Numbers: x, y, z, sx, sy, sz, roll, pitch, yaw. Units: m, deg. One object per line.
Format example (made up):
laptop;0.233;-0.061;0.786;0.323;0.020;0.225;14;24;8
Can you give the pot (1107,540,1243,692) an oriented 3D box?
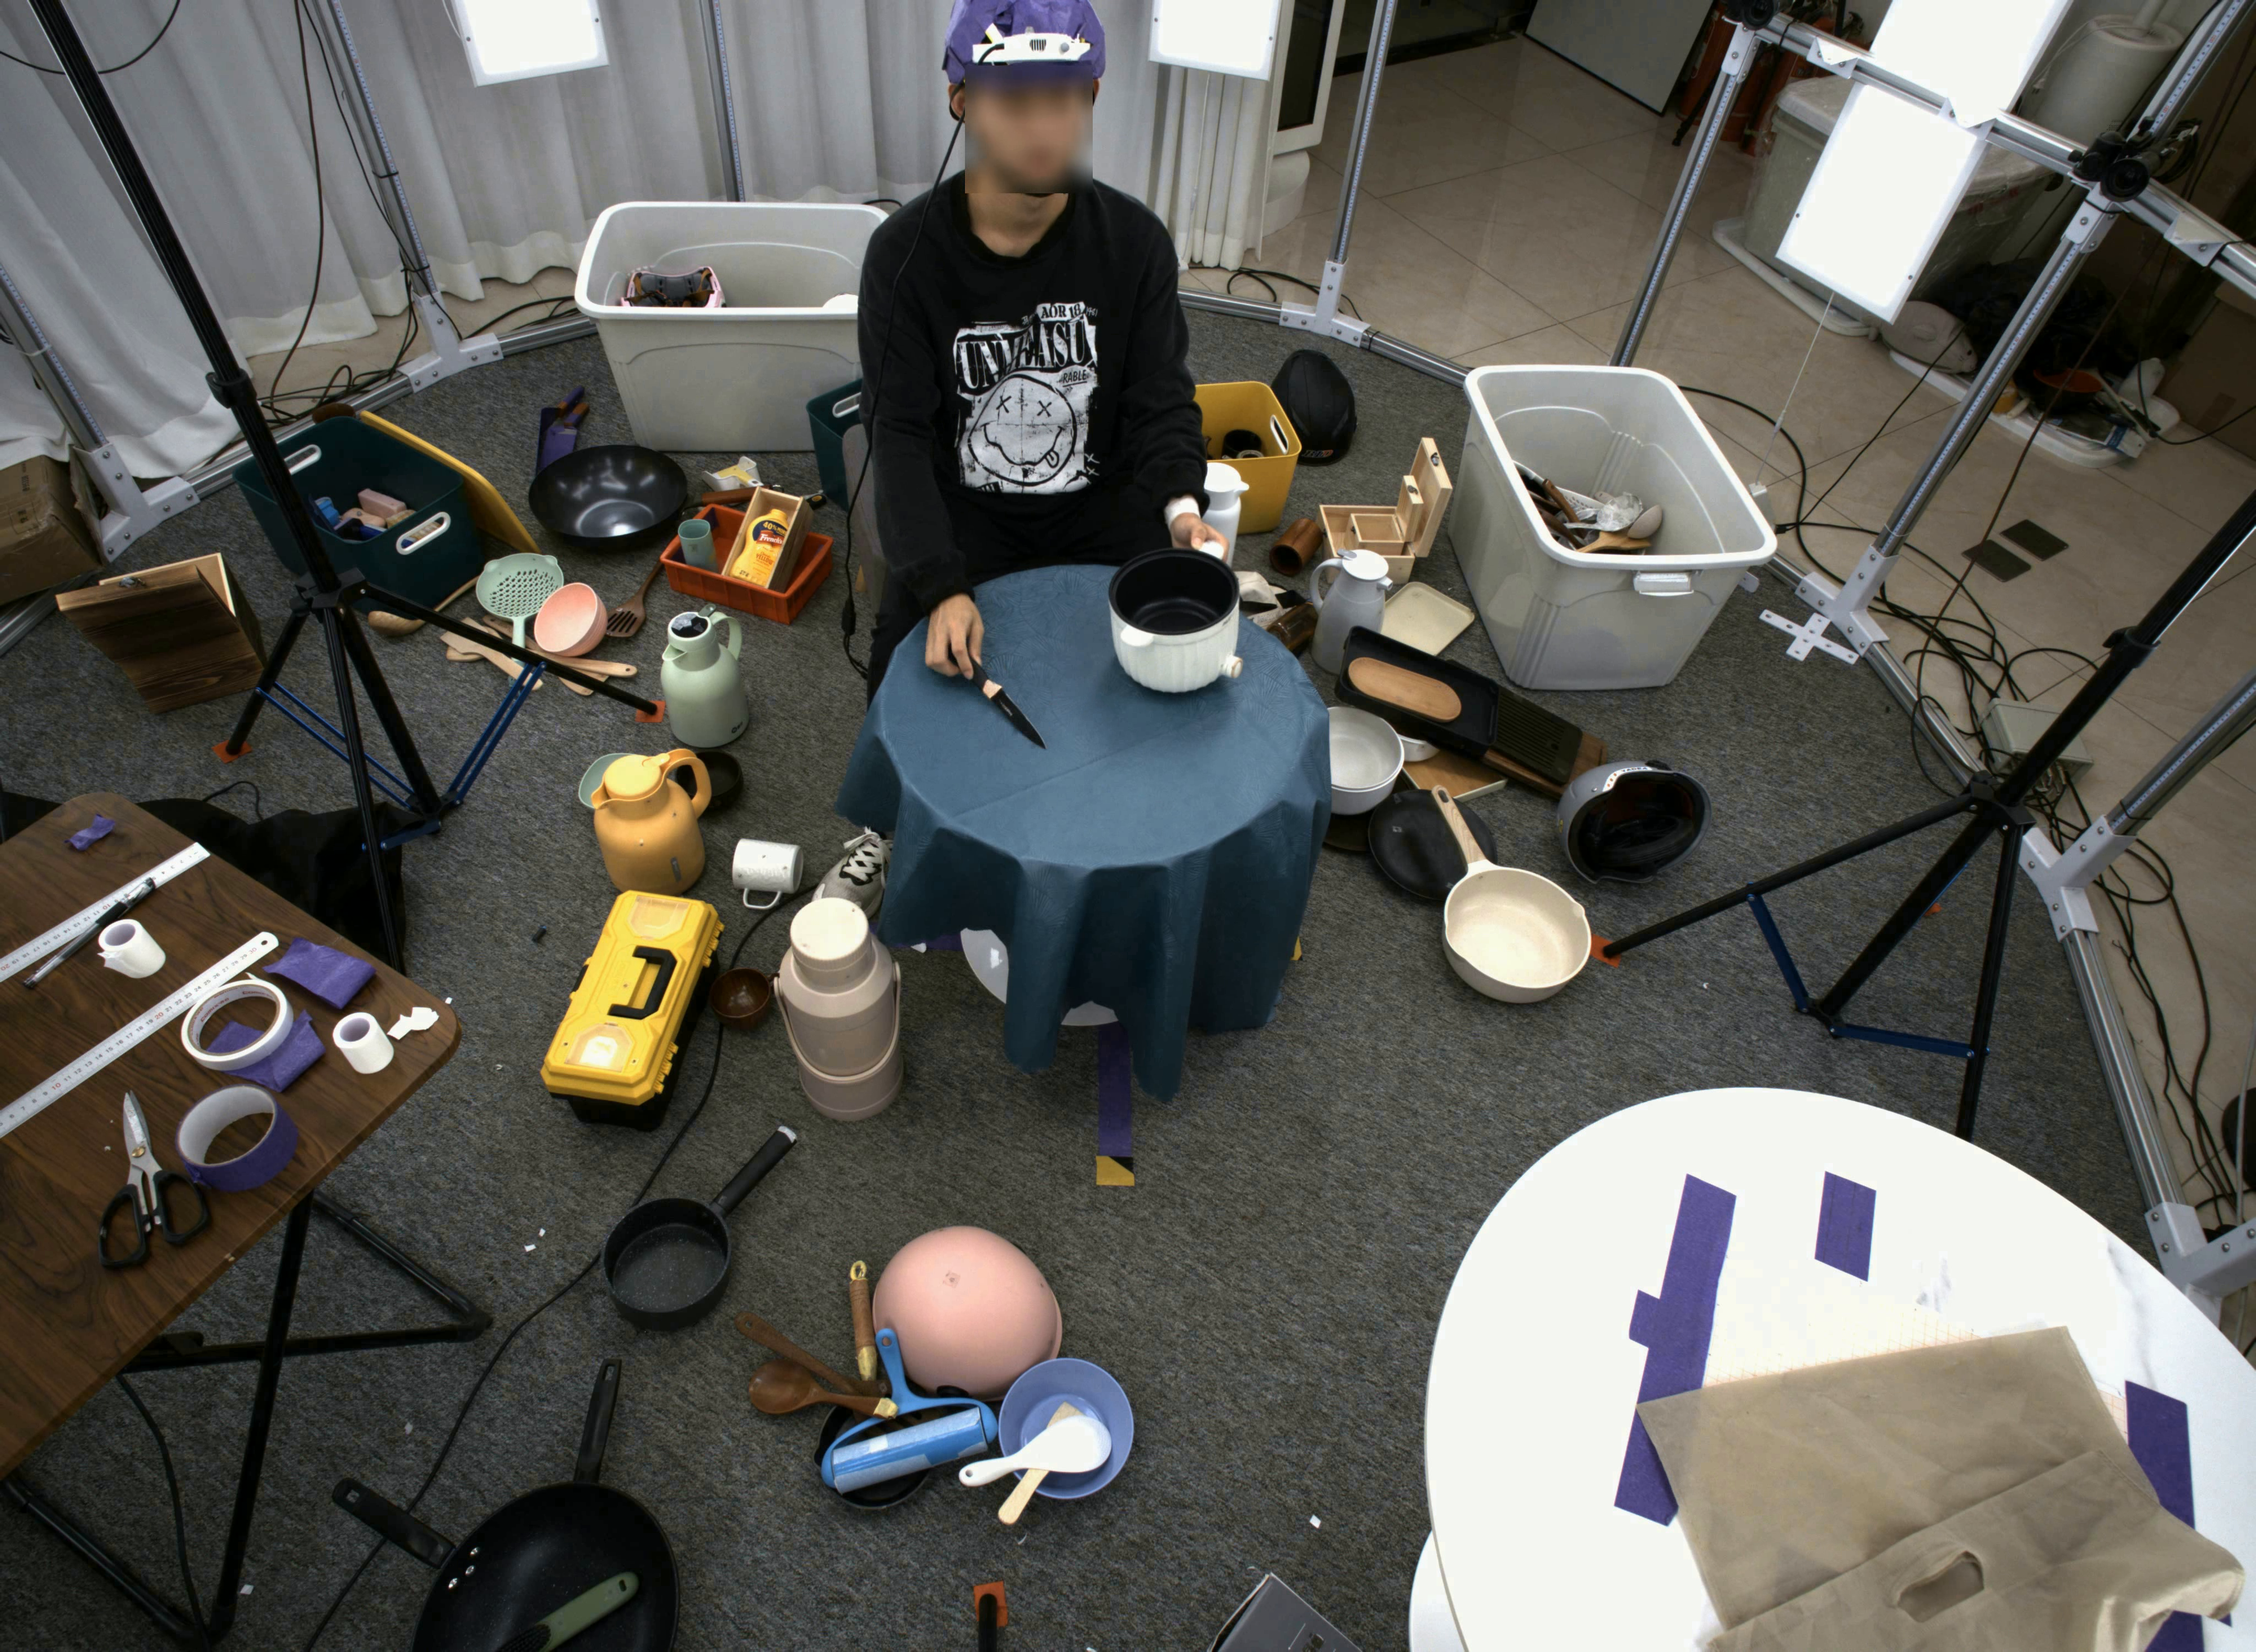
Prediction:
pot;0.072;-0.285;1.821;0.192;0.139;0.244;20;55;25

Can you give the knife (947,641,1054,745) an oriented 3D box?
knife;-0.179;-0.184;1.793;0.026;0.017;0.229;-43;68;-1
